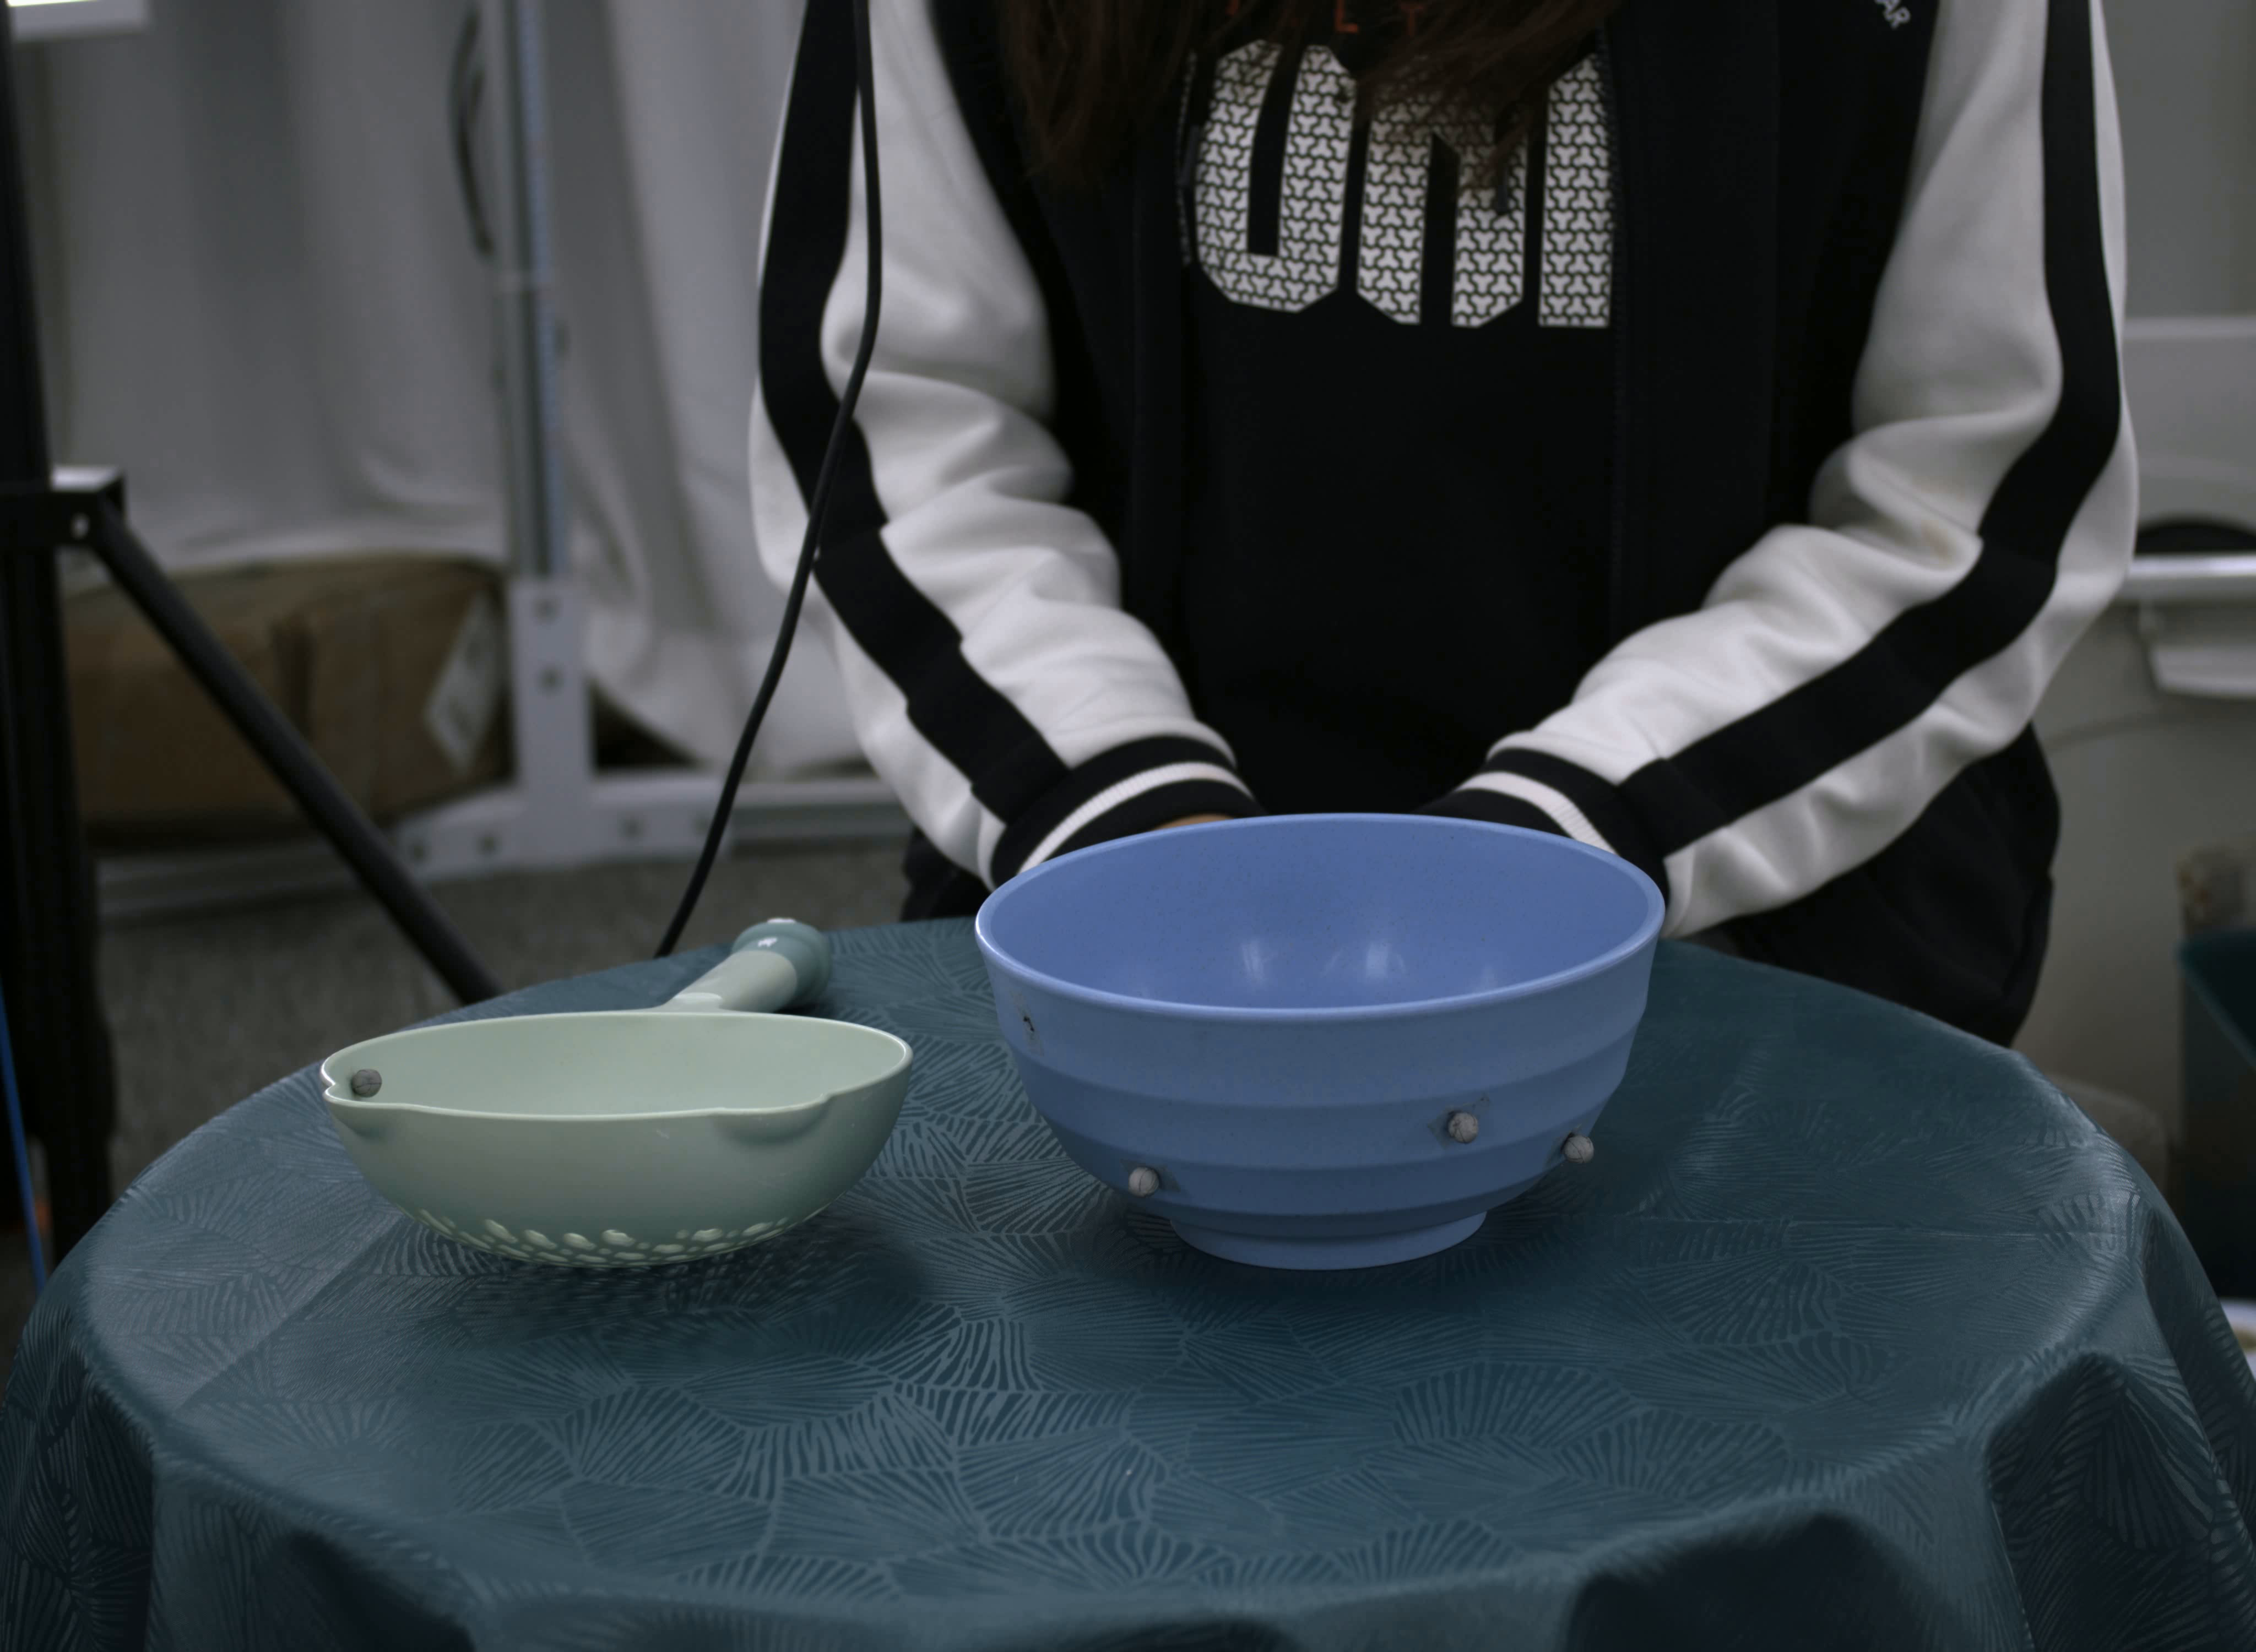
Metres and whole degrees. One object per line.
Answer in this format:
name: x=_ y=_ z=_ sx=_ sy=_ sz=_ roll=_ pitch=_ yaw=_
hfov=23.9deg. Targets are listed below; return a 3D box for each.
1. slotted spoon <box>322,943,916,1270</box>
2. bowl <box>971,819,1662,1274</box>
slotted spoon: x=-0.131 y=0.069 z=1.613 sx=0.170 sy=0.075 sz=0.357 roll=1 pitch=14 yaw=8
bowl: x=0.055 y=0.068 z=1.517 sx=0.195 sy=0.095 sz=0.197 roll=-3 pitch=15 yaw=-1
